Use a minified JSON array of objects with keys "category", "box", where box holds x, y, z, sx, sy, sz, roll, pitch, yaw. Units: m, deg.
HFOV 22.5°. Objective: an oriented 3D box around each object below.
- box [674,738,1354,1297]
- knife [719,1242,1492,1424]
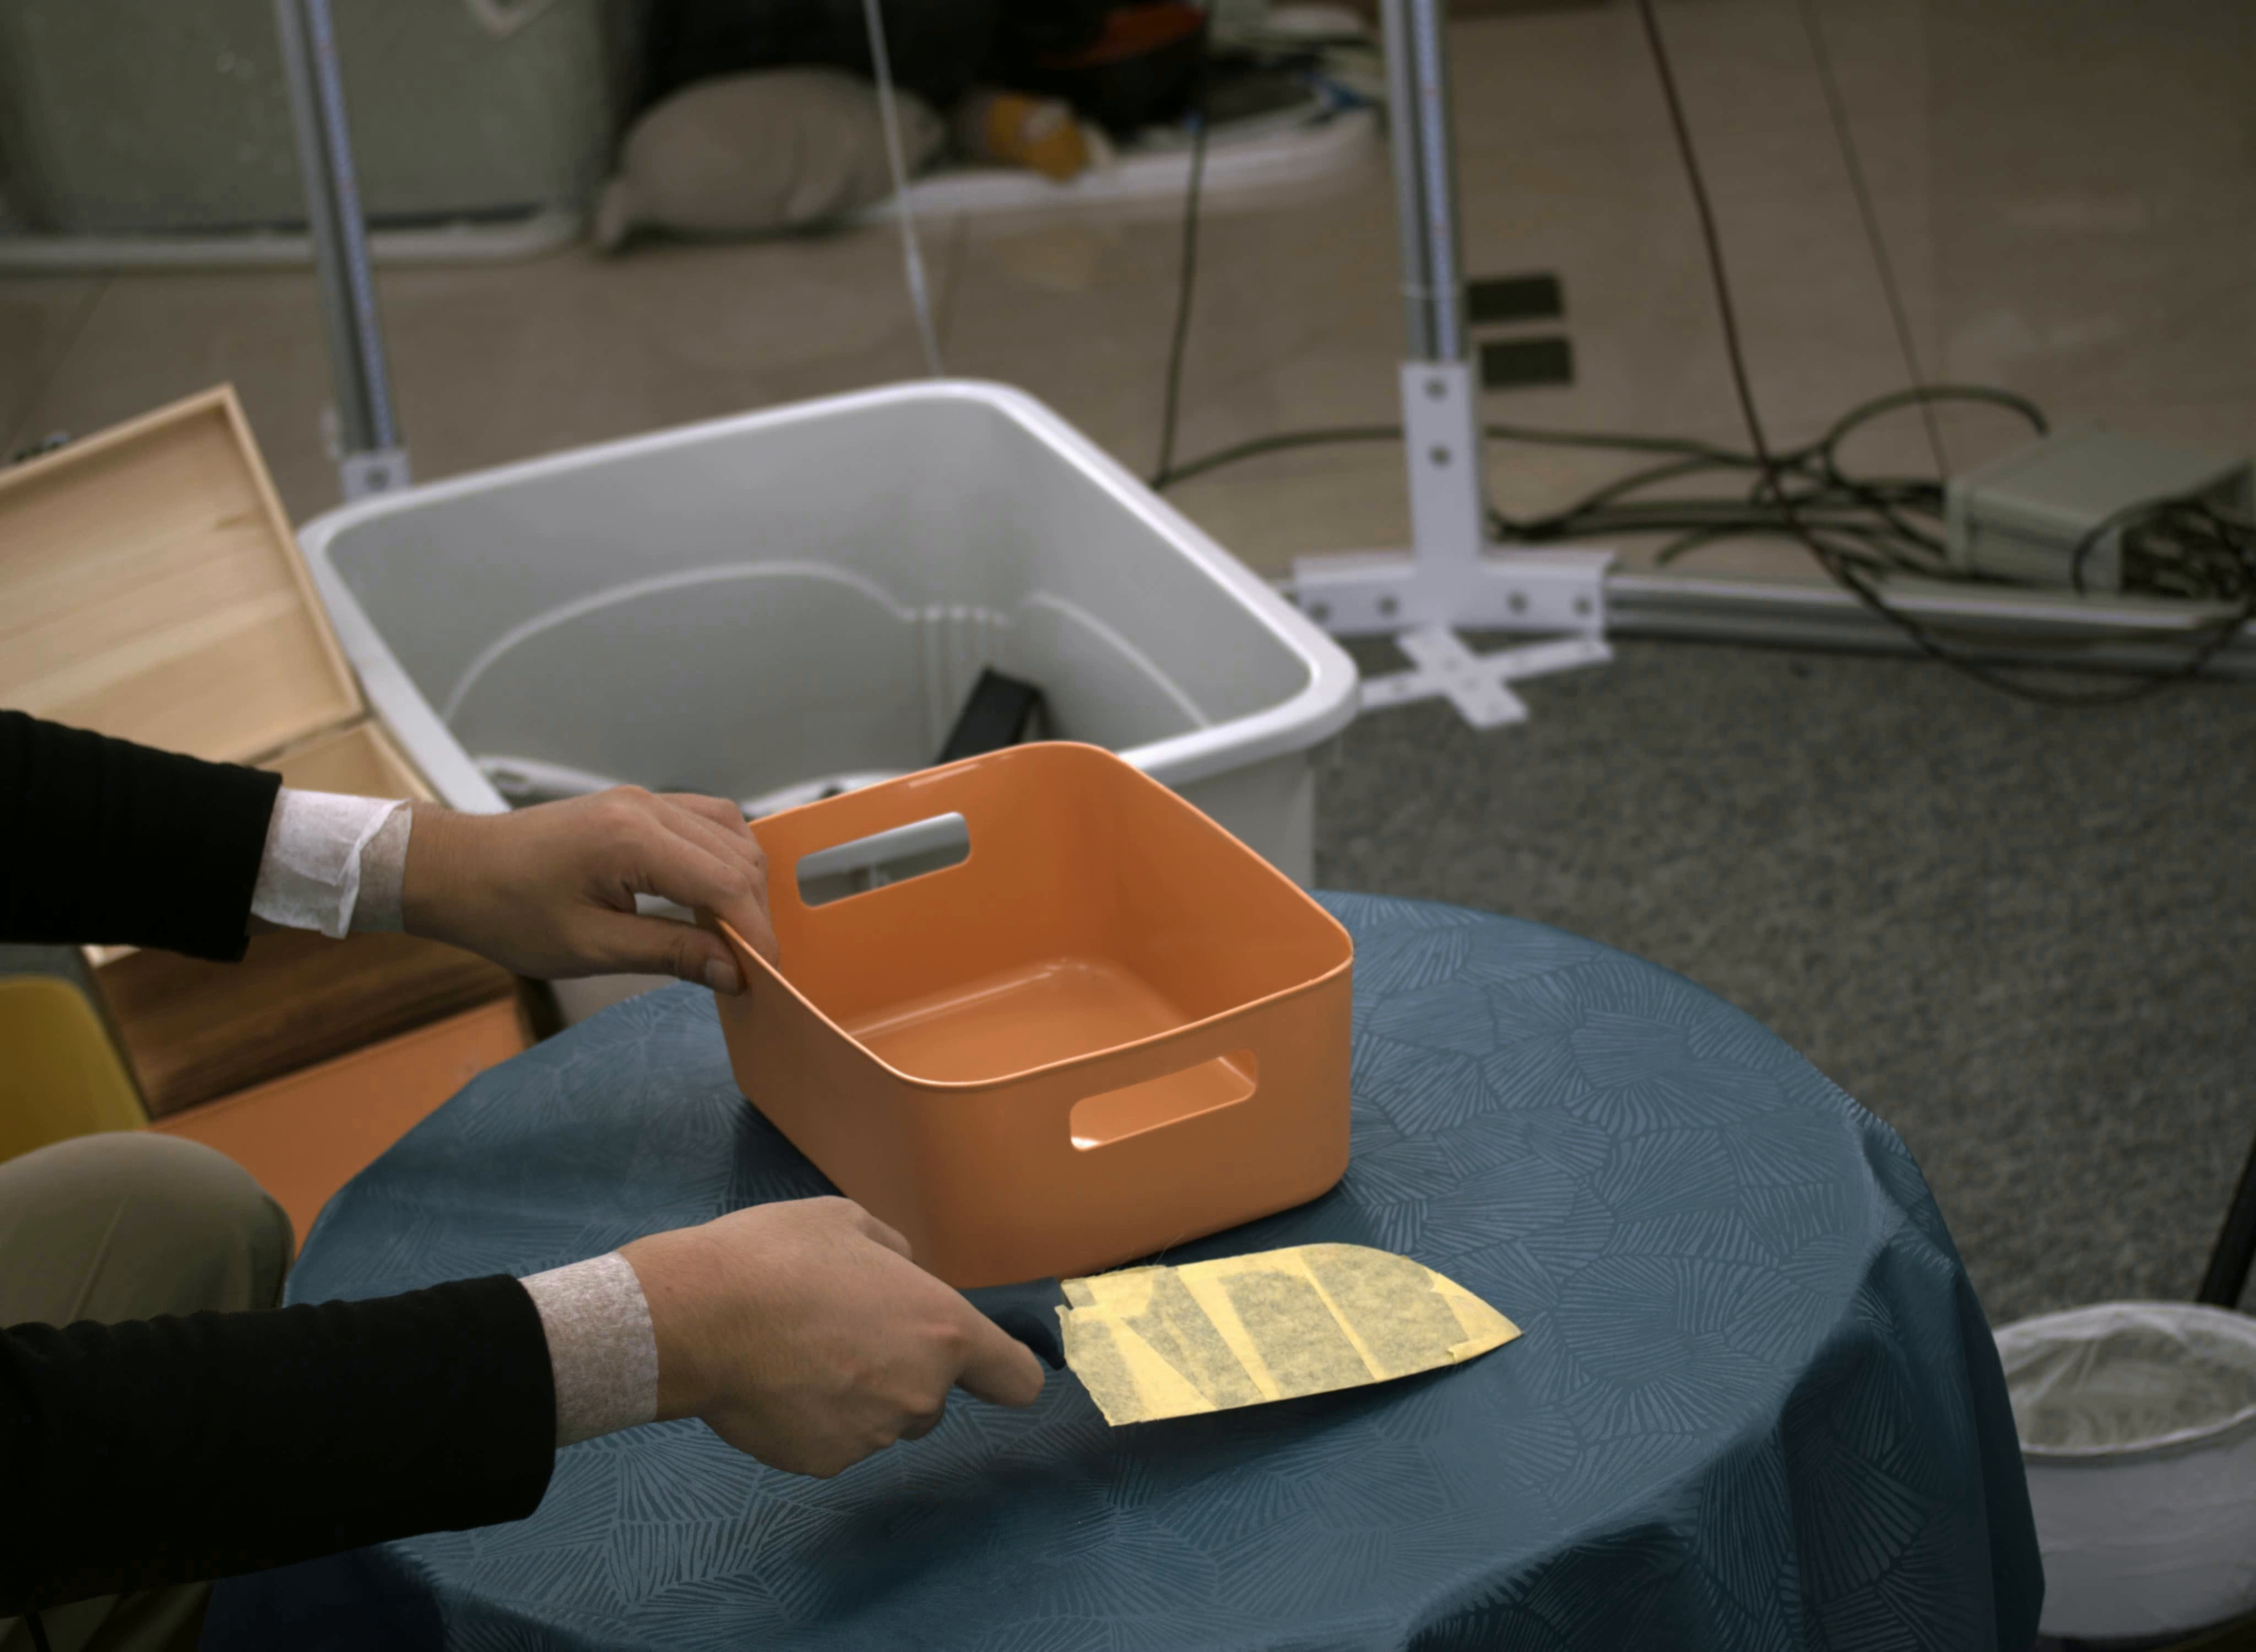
[{"category":"box","box":[-0.044,0.073,2.176,0.198,0.104,0.270,-16,27,-21]},{"category":"knife","box":[-0.002,0.181,1.975,0.289,0.028,0.080,-6,36,-23]}]
